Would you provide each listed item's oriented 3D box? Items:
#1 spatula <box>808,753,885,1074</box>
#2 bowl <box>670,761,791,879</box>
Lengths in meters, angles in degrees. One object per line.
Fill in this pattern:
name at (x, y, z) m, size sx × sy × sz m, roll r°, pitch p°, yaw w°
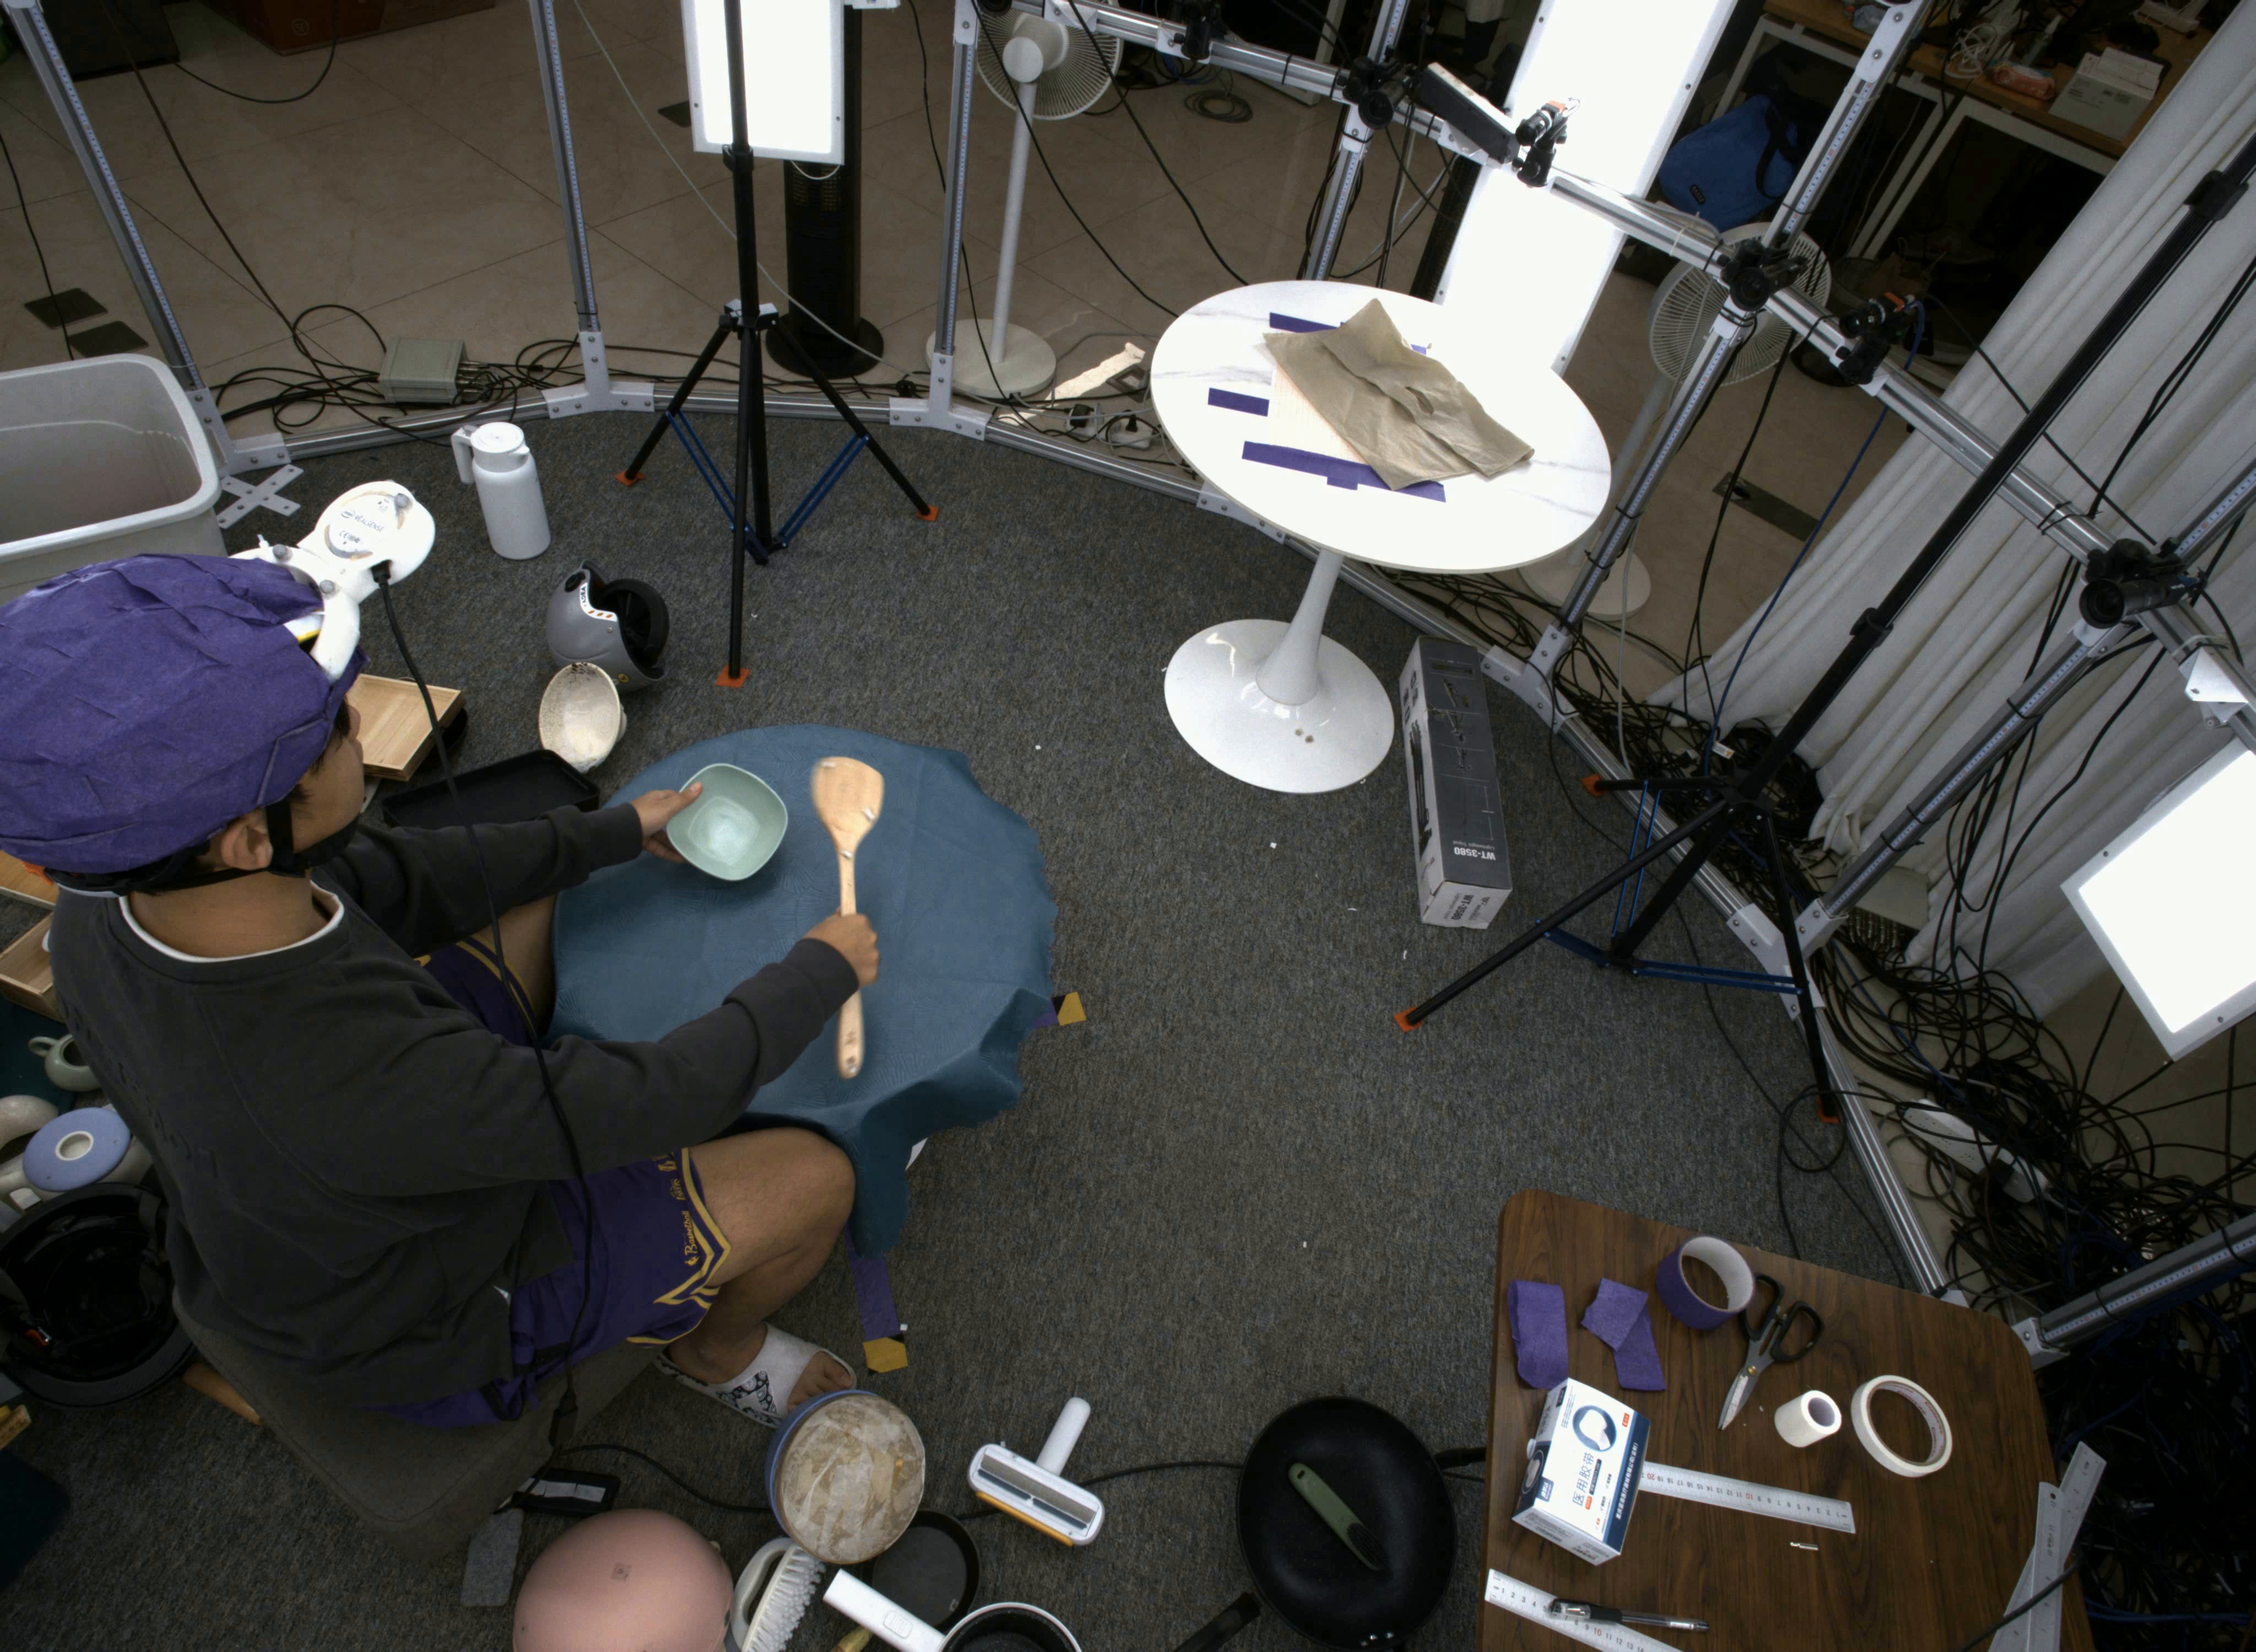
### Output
spatula at (-0.318, 0.093, 1.521) m, size 0.097 × 0.018 × 0.387 m, roll 4°, pitch 66°, yaw -33°
bowl at (-0.510, -0.003, 1.649) m, size 0.153 × 0.058 × 0.151 m, roll 7°, pitch 75°, yaw -25°
